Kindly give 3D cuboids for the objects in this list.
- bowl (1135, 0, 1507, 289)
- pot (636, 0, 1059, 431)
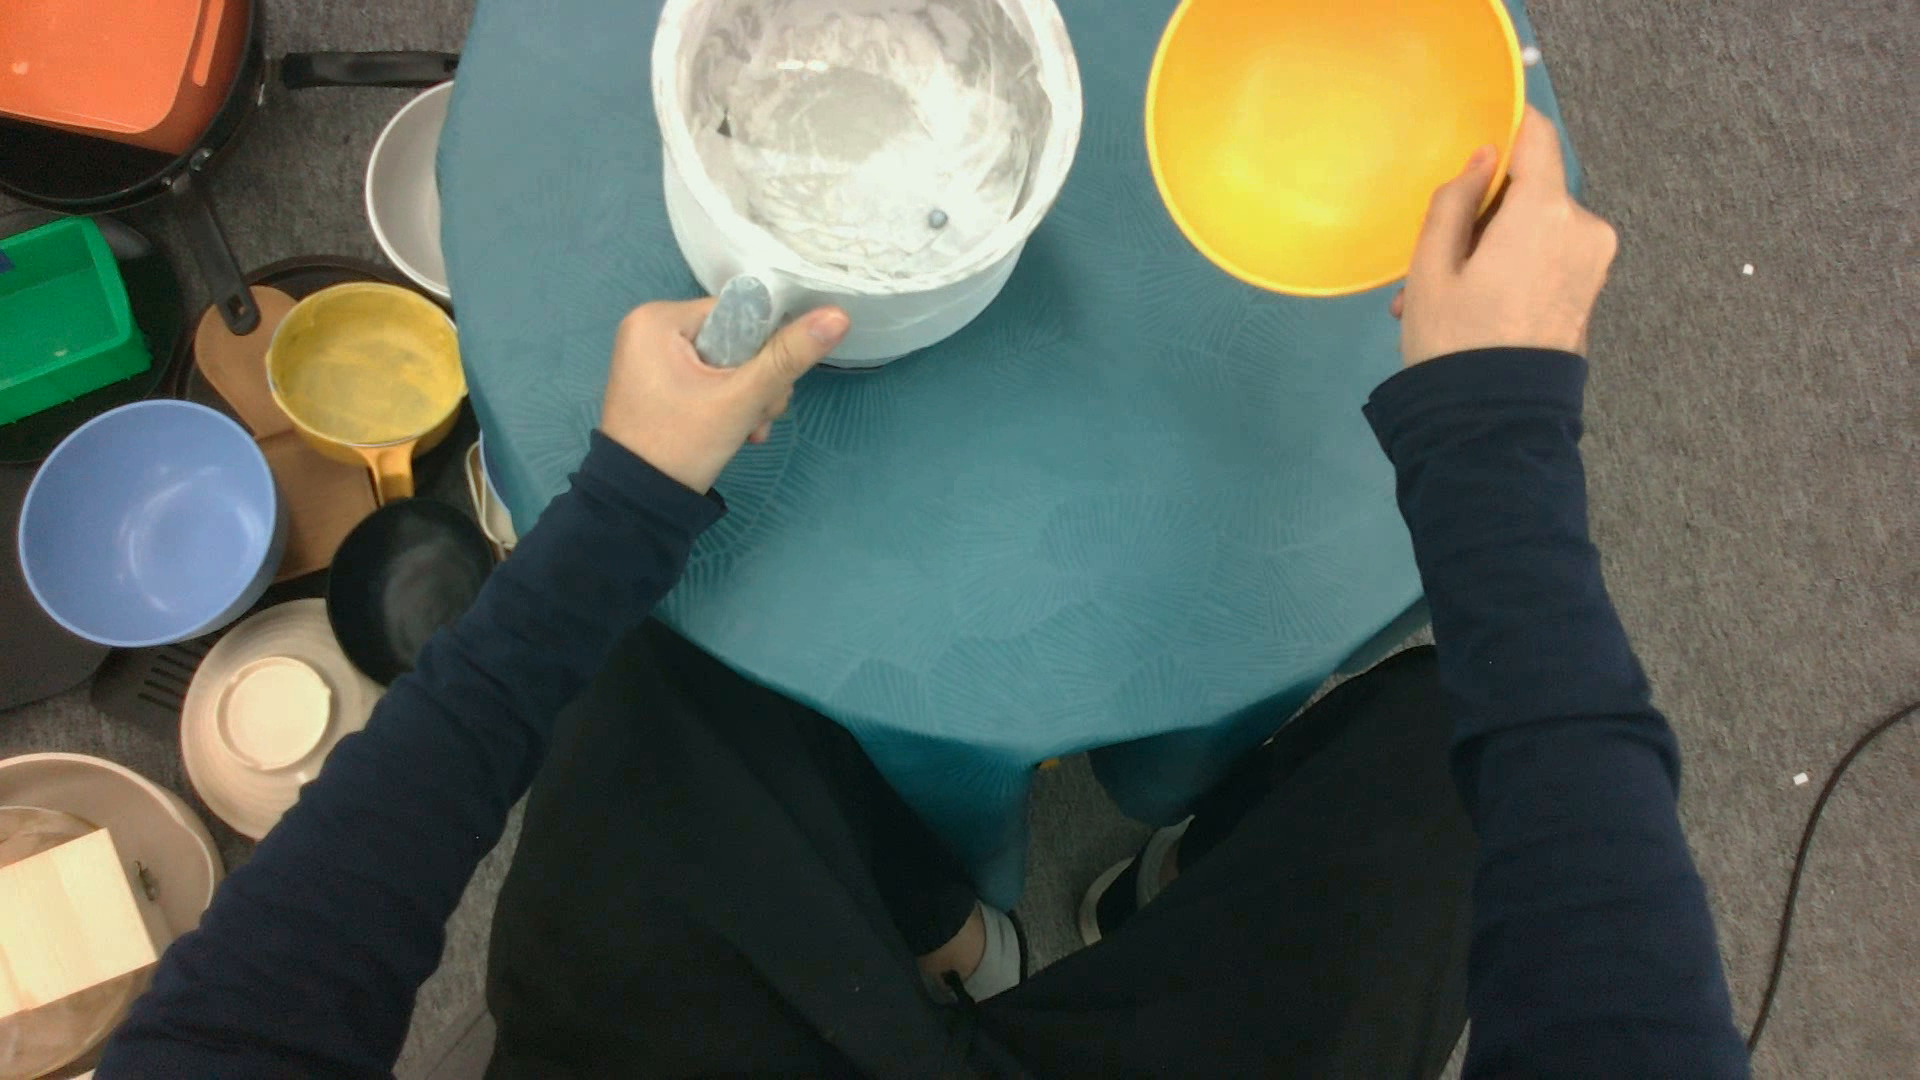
[{"bbox_3d":[0.149,-0.179,0.574,0.145,0.060,0.145,4,104,17],"label":"bowl"},{"bbox_3d":[-0.068,-0.160,0.629,0.179,0.136,0.234,29,80,-6],"label":"pot"}]
